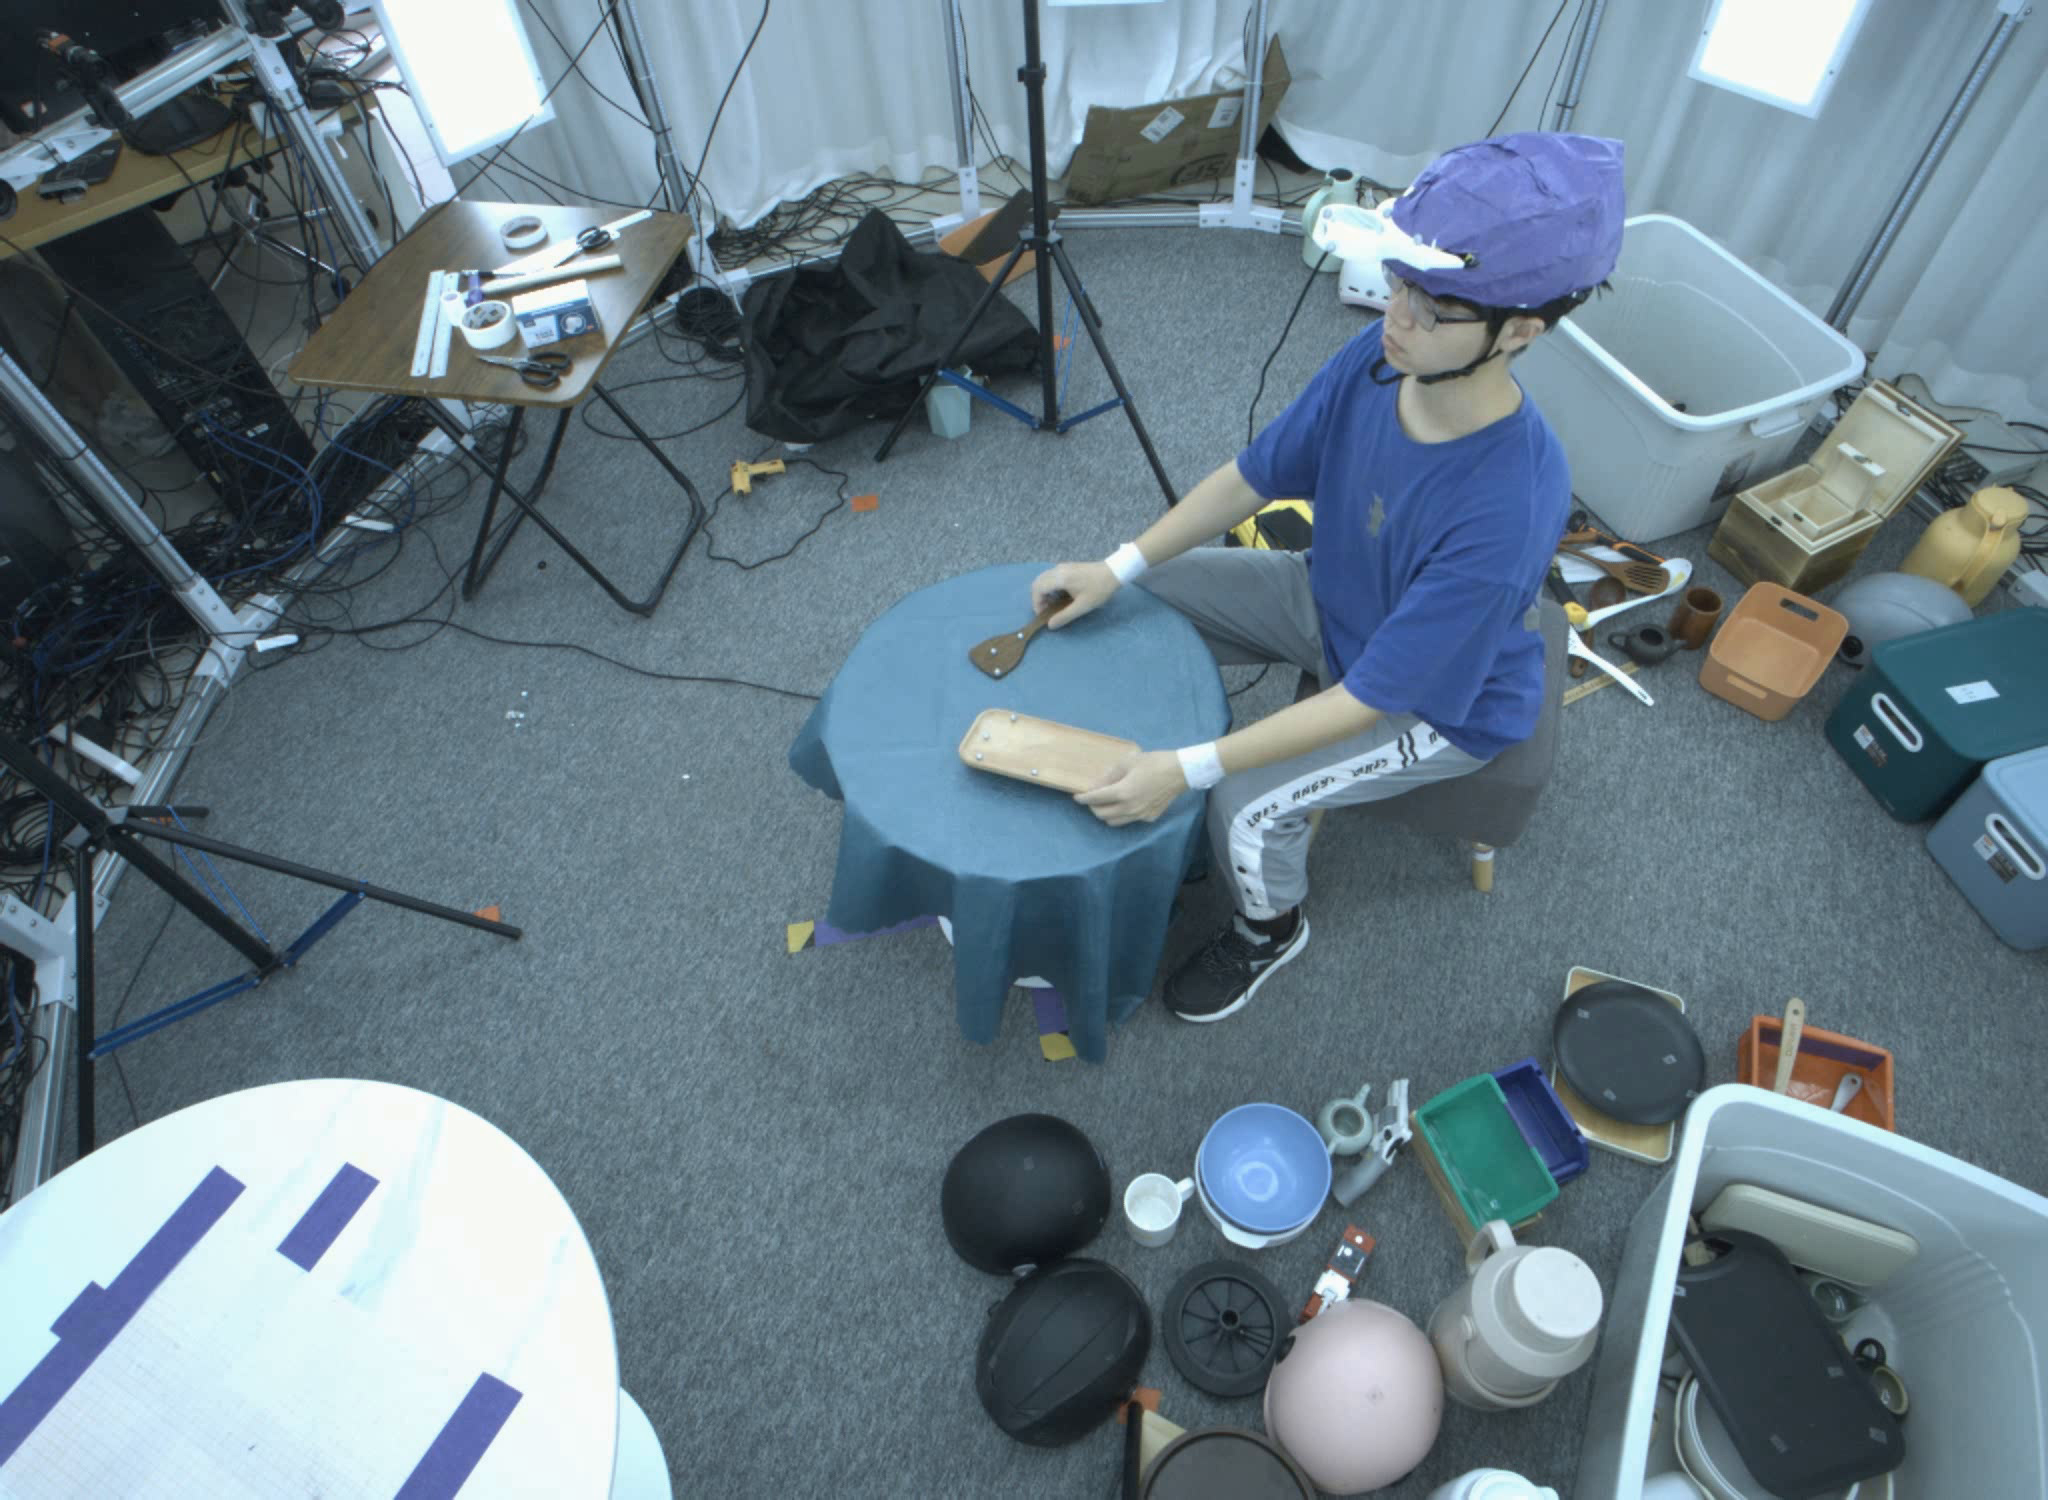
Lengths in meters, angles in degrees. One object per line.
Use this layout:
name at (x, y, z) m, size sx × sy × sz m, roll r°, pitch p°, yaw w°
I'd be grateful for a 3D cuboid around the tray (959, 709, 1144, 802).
tray at (0.039, 0.006, 1.744) m, size 0.248 × 0.023 × 0.130 m, roll 15°, pitch 45°, yaw 13°

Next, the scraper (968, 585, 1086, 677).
scraper at (0.011, -0.189, 1.898) m, size 0.212 × 0.011 × 0.074 m, roll -39°, pitch 64°, yaw -16°
